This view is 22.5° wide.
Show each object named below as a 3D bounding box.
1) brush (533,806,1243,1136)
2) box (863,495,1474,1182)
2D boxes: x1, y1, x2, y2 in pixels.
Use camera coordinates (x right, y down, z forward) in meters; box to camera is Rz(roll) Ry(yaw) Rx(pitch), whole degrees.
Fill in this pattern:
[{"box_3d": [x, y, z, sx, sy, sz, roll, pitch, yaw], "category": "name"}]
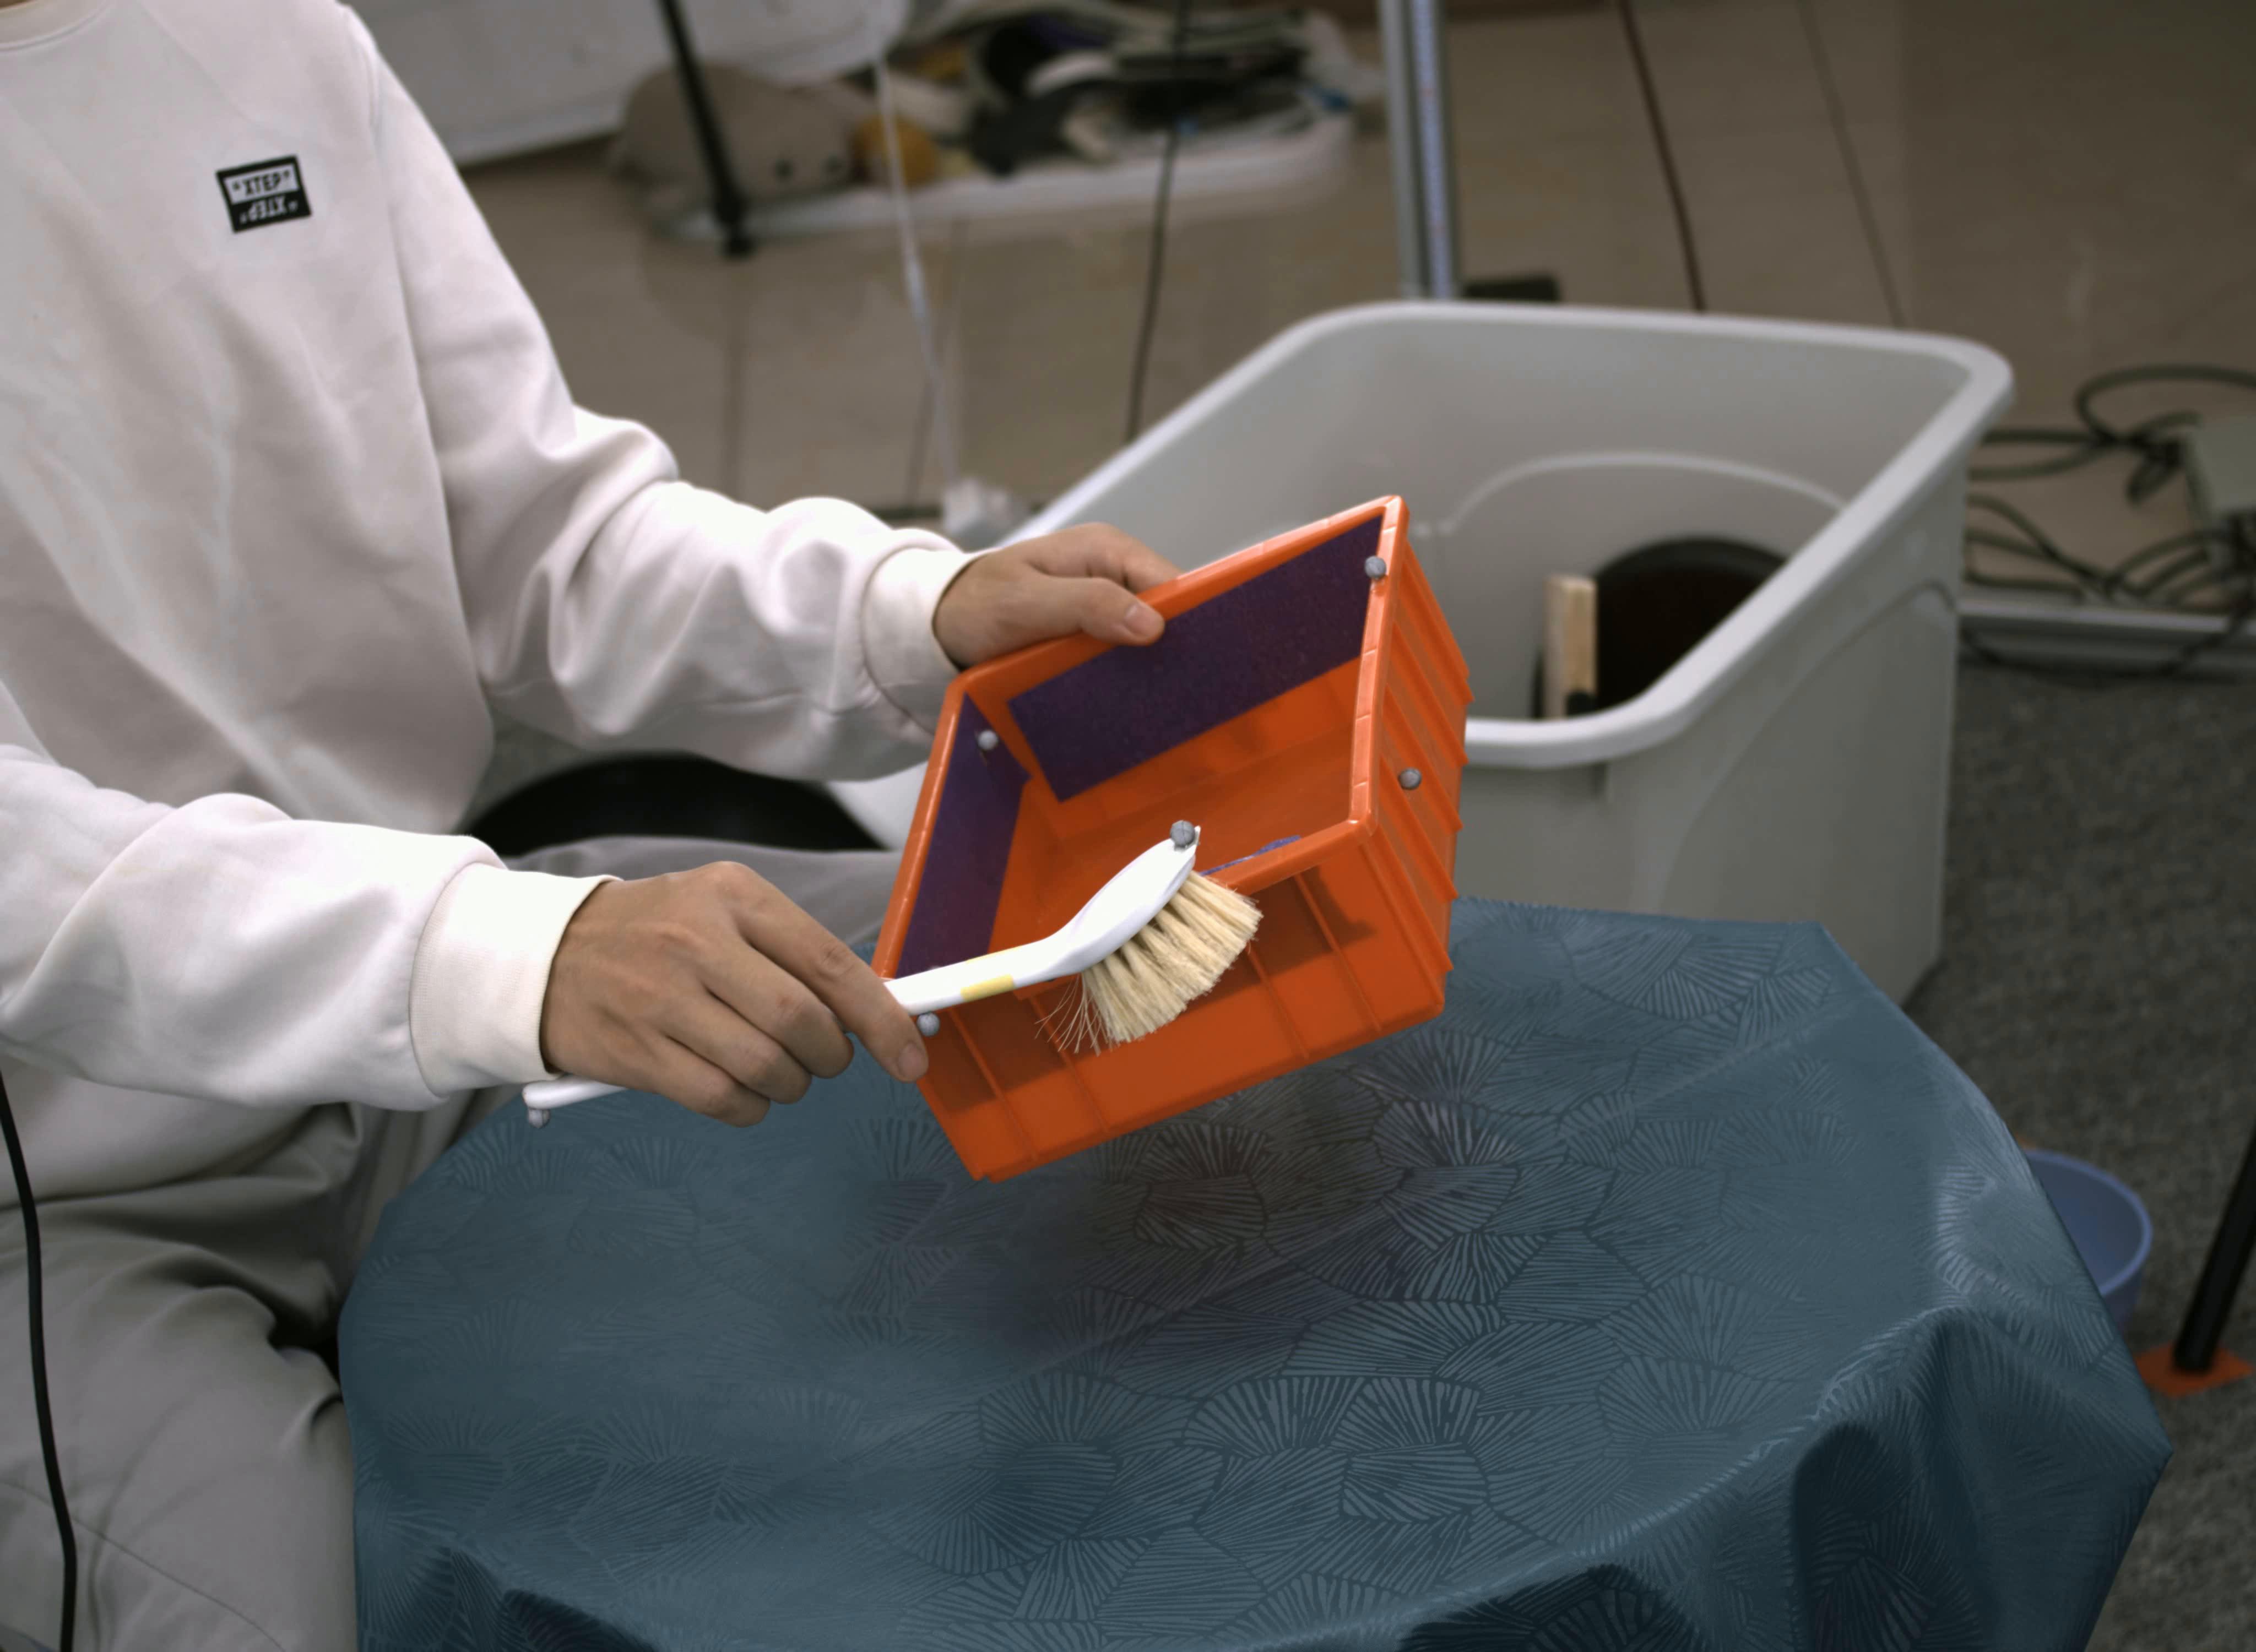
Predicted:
[{"box_3d": [-0.080, 0.071, 1.970, 0.267, 0.056, 0.068, -26, 3, 12], "category": "brush"}, {"box_3d": [0.025, 0.006, 2.155, 0.207, 0.097, 0.299, -22, 22, 17], "category": "box"}]
